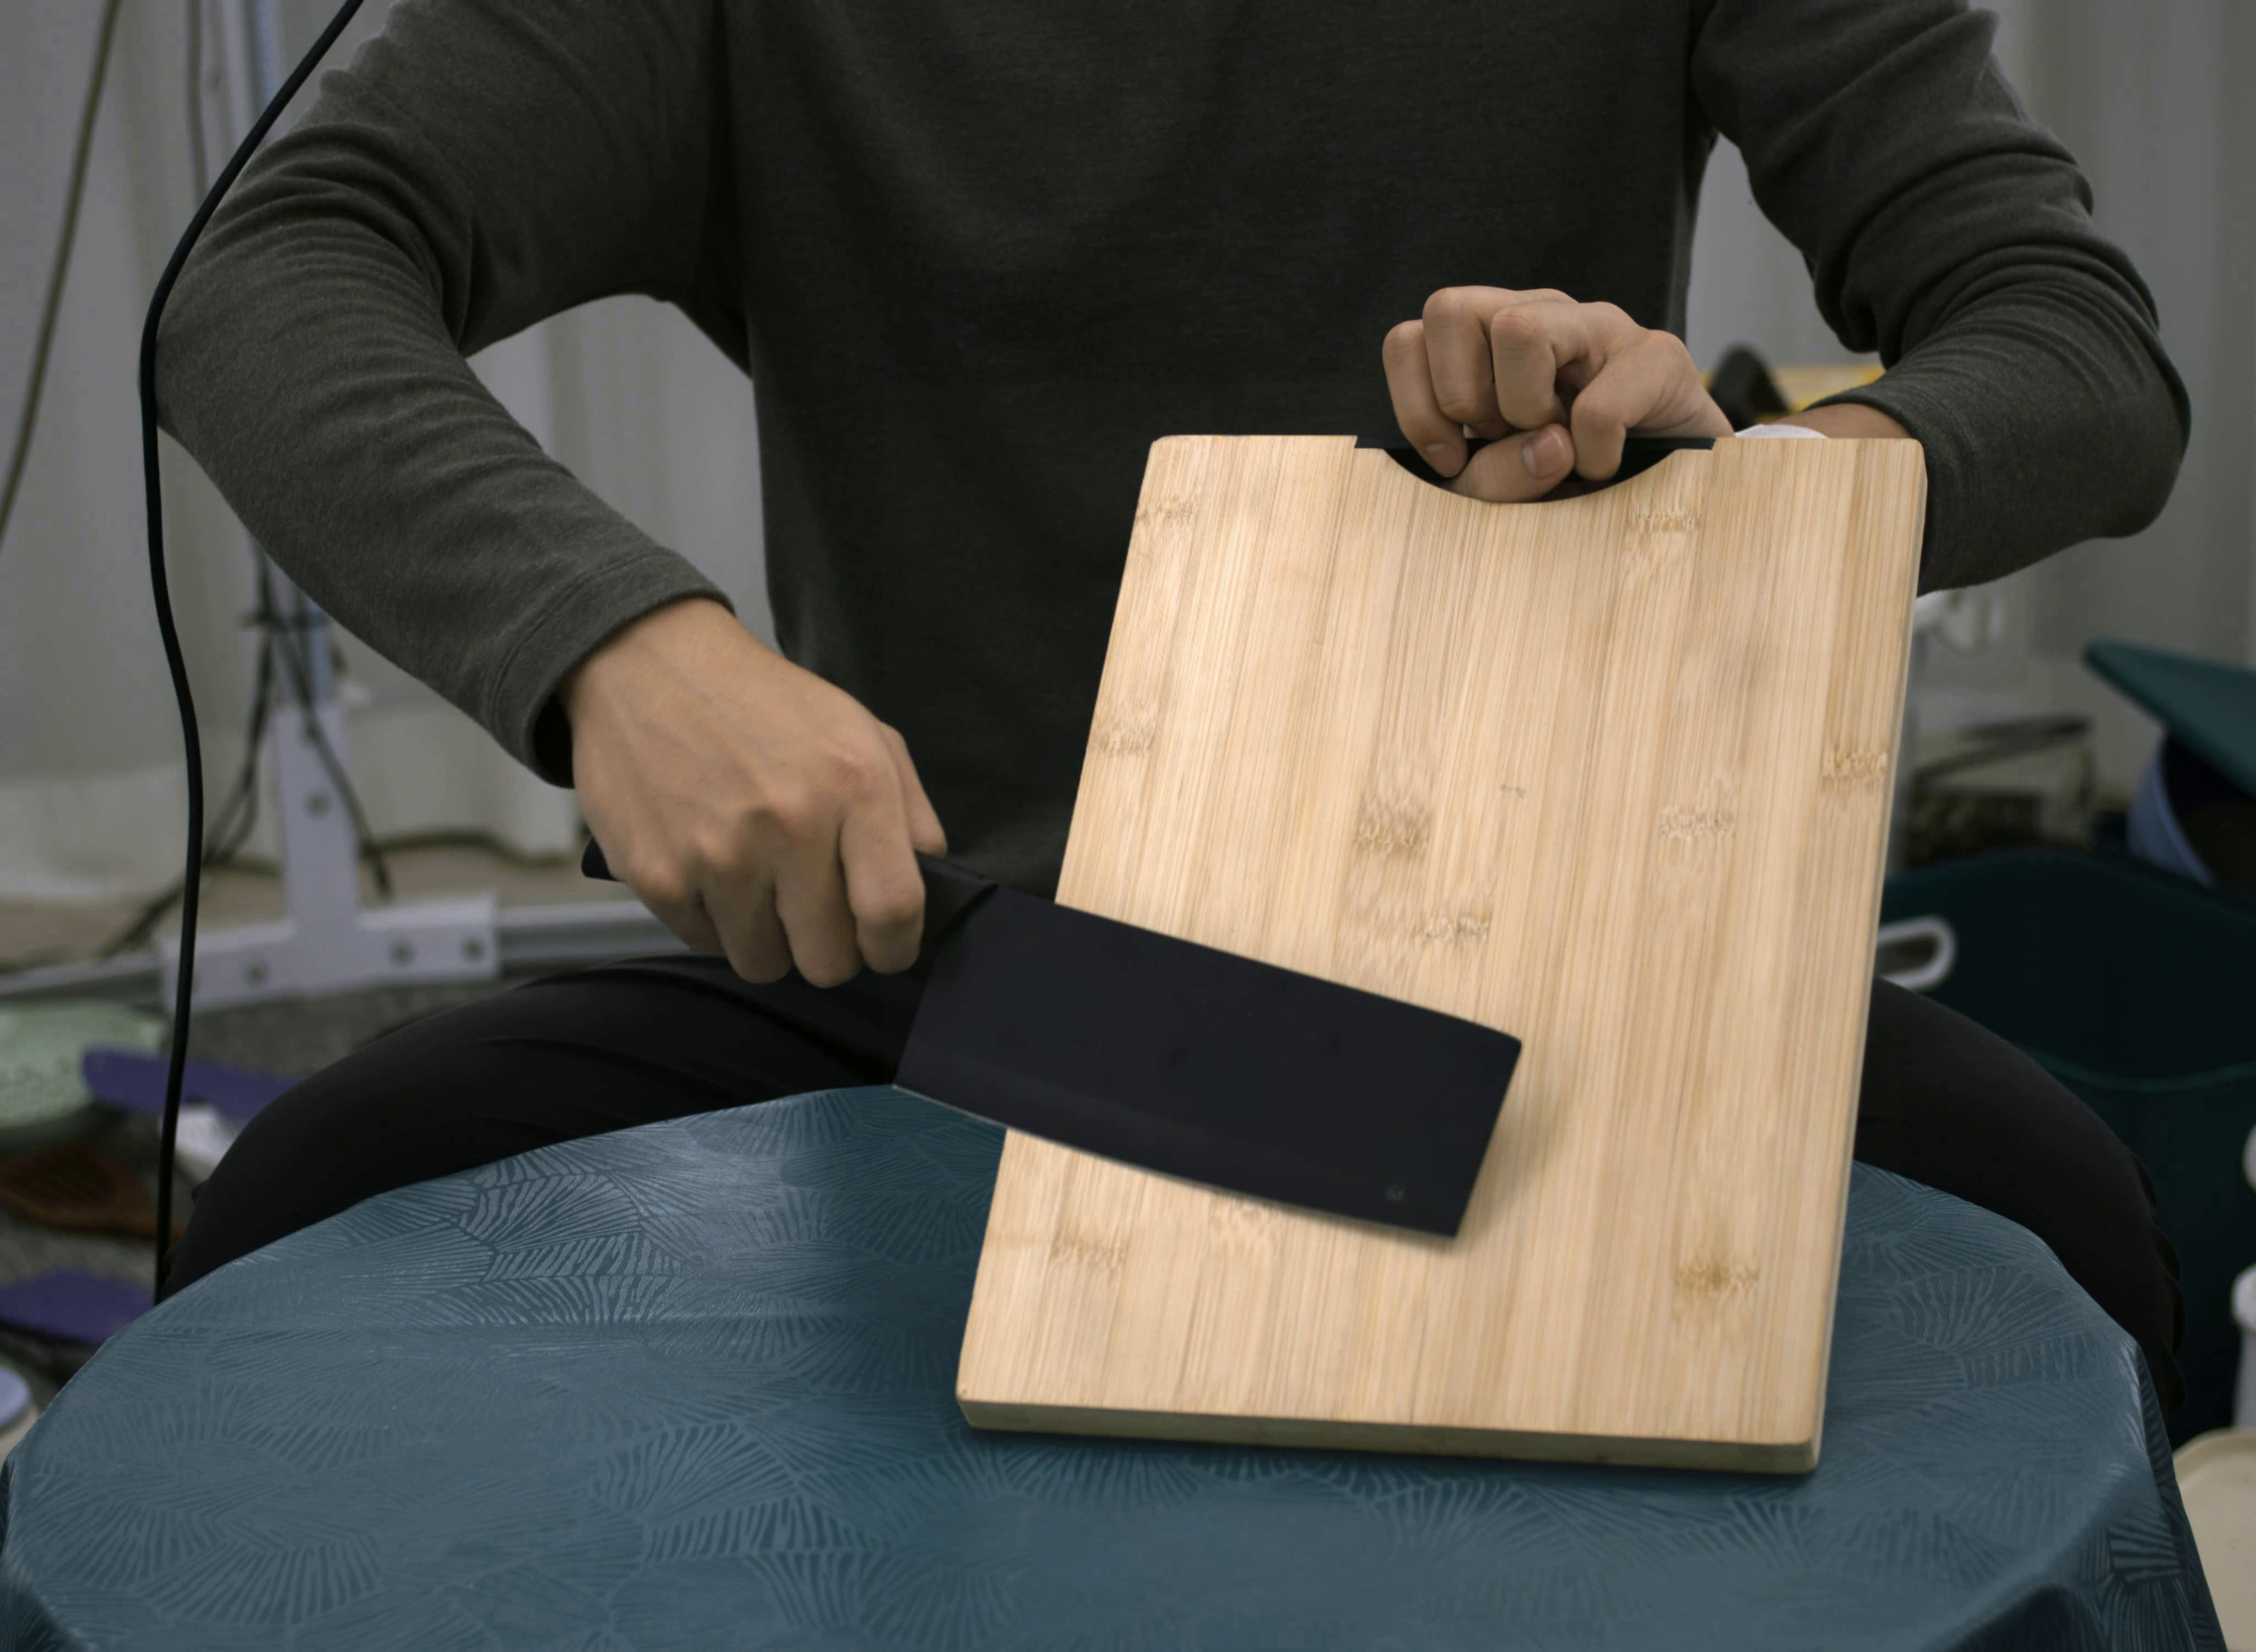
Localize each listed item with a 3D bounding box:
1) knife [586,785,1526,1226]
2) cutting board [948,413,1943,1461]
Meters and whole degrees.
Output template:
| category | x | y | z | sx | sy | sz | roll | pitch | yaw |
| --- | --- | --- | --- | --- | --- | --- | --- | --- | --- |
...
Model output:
| category | x | y | z | sx | sy | sz | roll | pitch | yaw |
| --- | --- | --- | --- | --- | --- | --- | --- | --- | --- |
| knife | -0.028 | 0.047 | 1.571 | 0.304 | 0.081 | 0.020 | 20 | -10 | 26 |
| cutting board | 0.097 | 0.022 | 1.583 | 0.250 | 0.023 | 0.353 | 1 | 55 | 15 |
